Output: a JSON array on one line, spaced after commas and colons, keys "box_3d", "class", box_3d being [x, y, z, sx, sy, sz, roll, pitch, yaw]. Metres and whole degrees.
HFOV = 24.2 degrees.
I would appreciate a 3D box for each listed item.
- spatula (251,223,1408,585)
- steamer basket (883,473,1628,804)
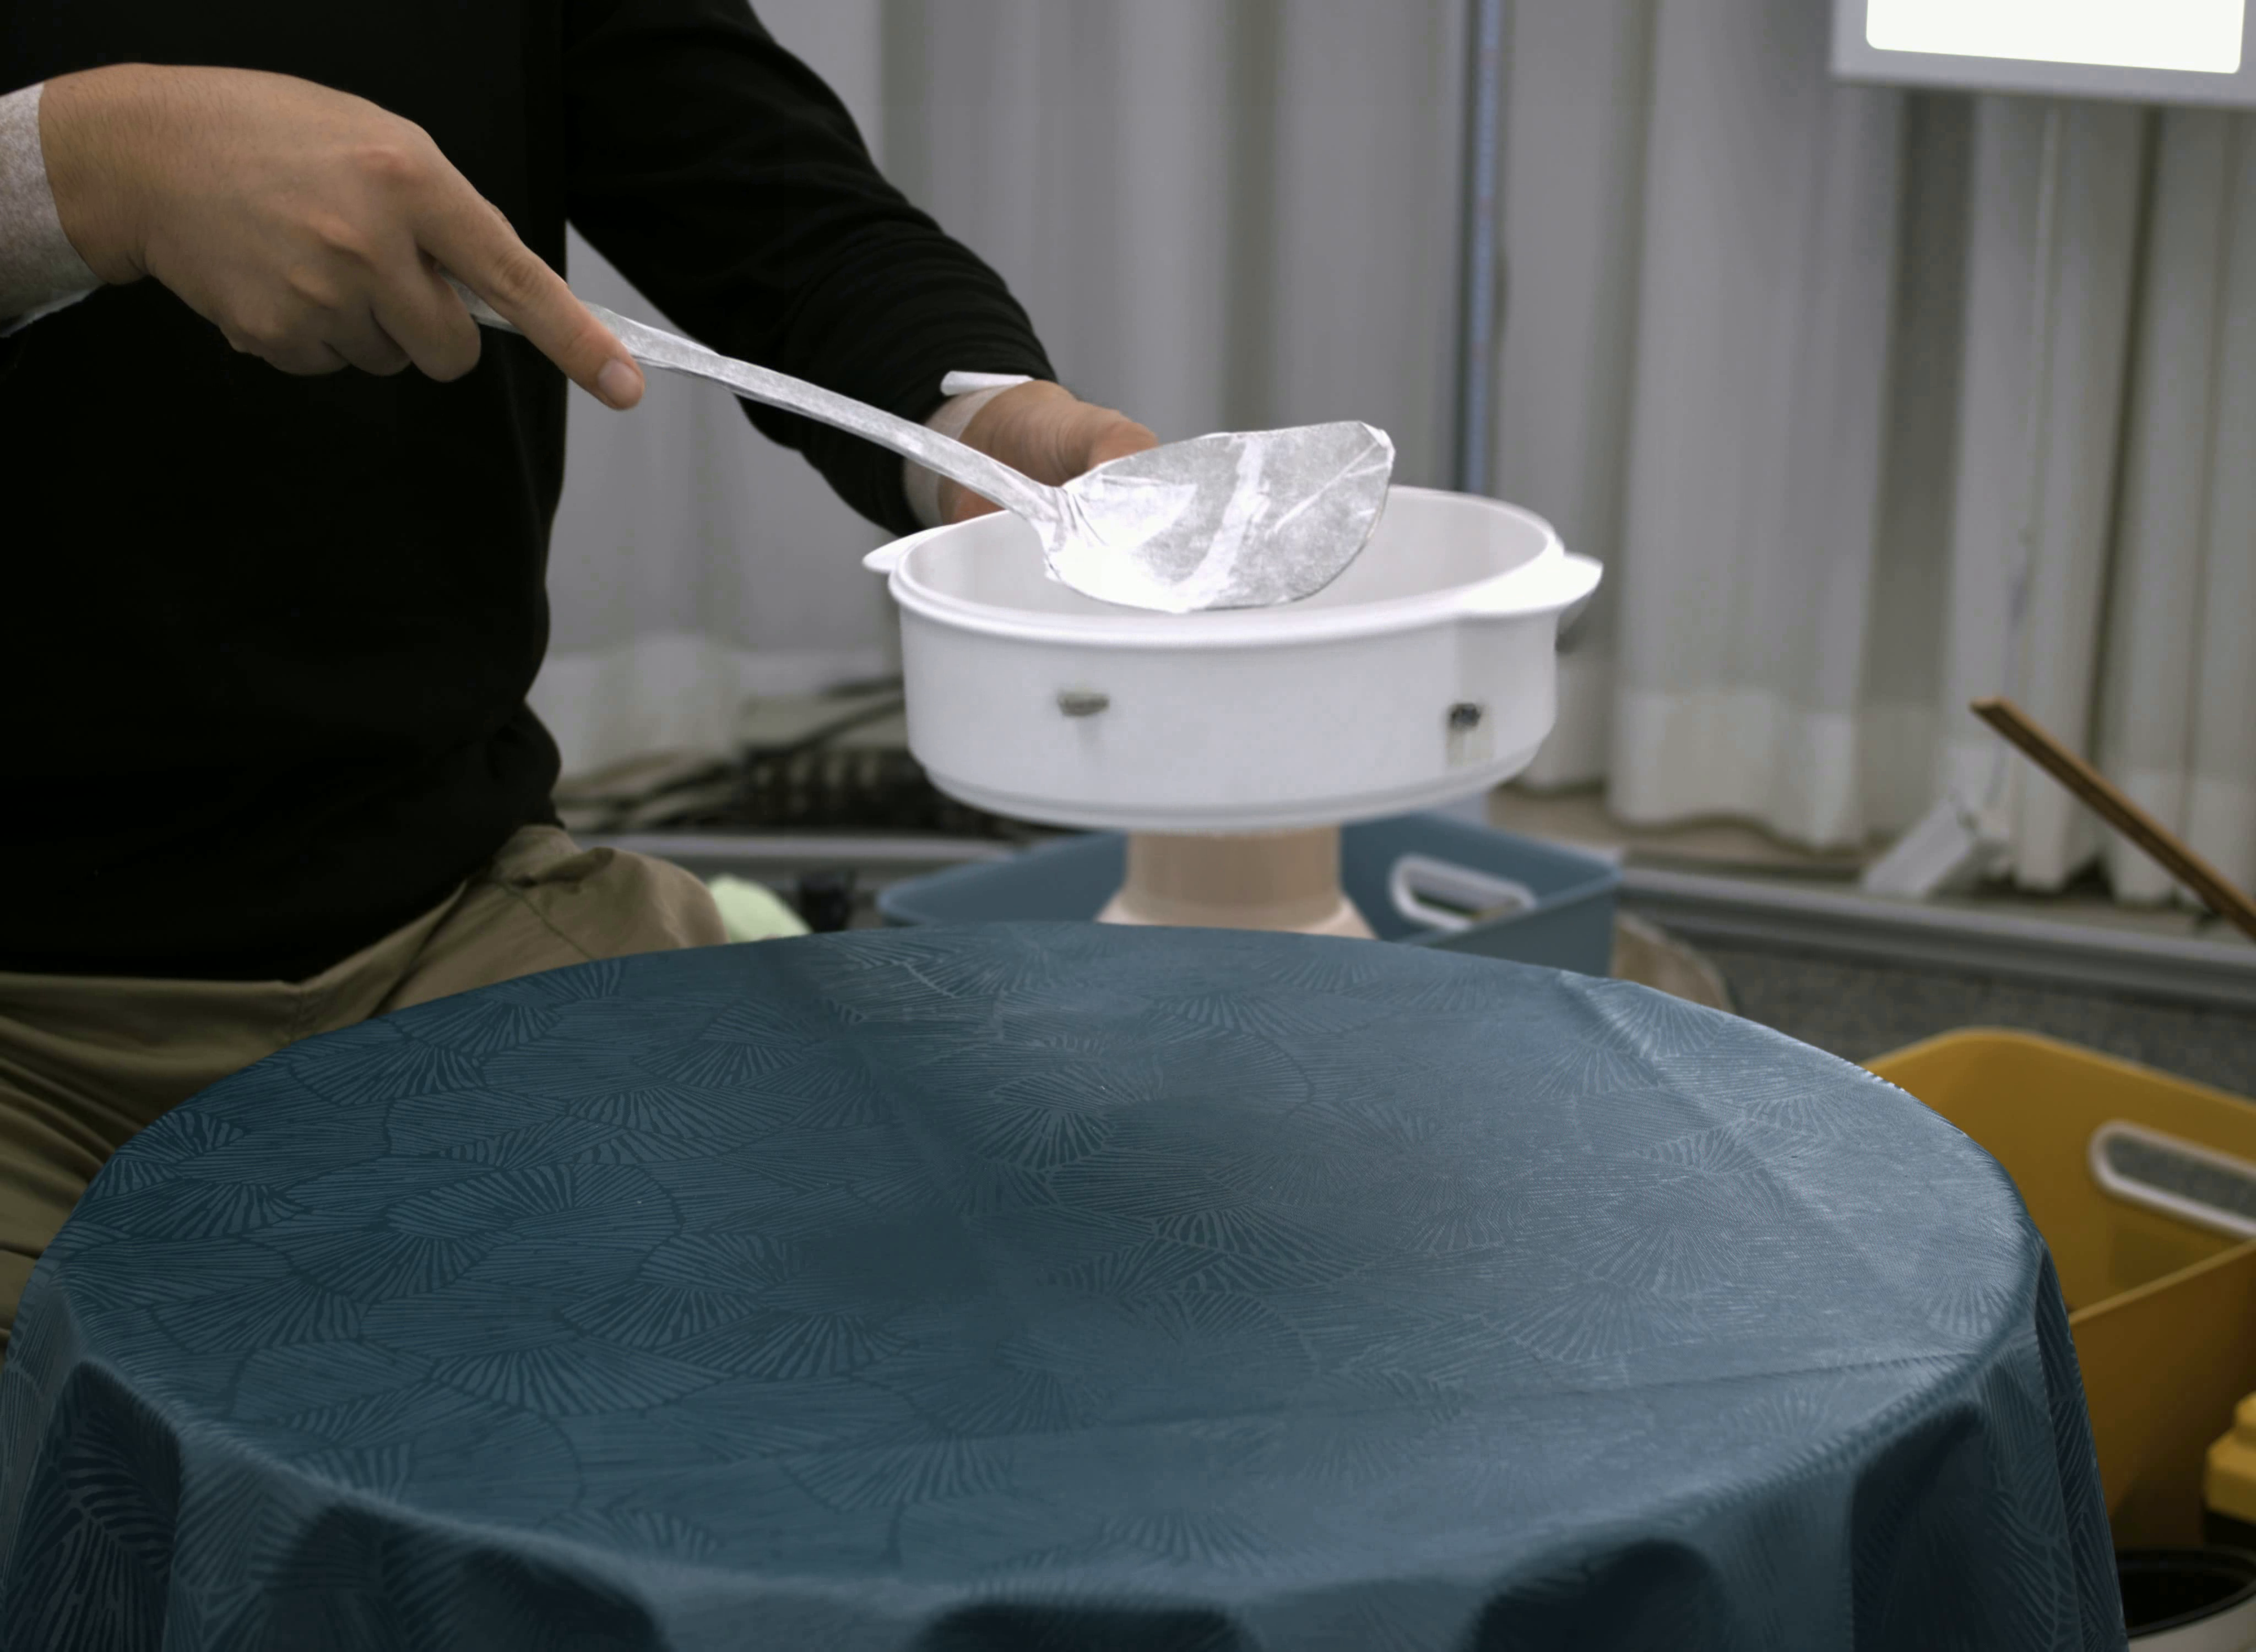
[{"box_3d": [-0.097, -0.133, 1.558, 0.363, 0.045, 0.098, 19, 44, 6], "class": "spatula"}, {"box_3d": [0.037, -0.056, 1.554, 0.228, 0.070, 0.202, 3, 14, 28], "class": "steamer basket"}]
